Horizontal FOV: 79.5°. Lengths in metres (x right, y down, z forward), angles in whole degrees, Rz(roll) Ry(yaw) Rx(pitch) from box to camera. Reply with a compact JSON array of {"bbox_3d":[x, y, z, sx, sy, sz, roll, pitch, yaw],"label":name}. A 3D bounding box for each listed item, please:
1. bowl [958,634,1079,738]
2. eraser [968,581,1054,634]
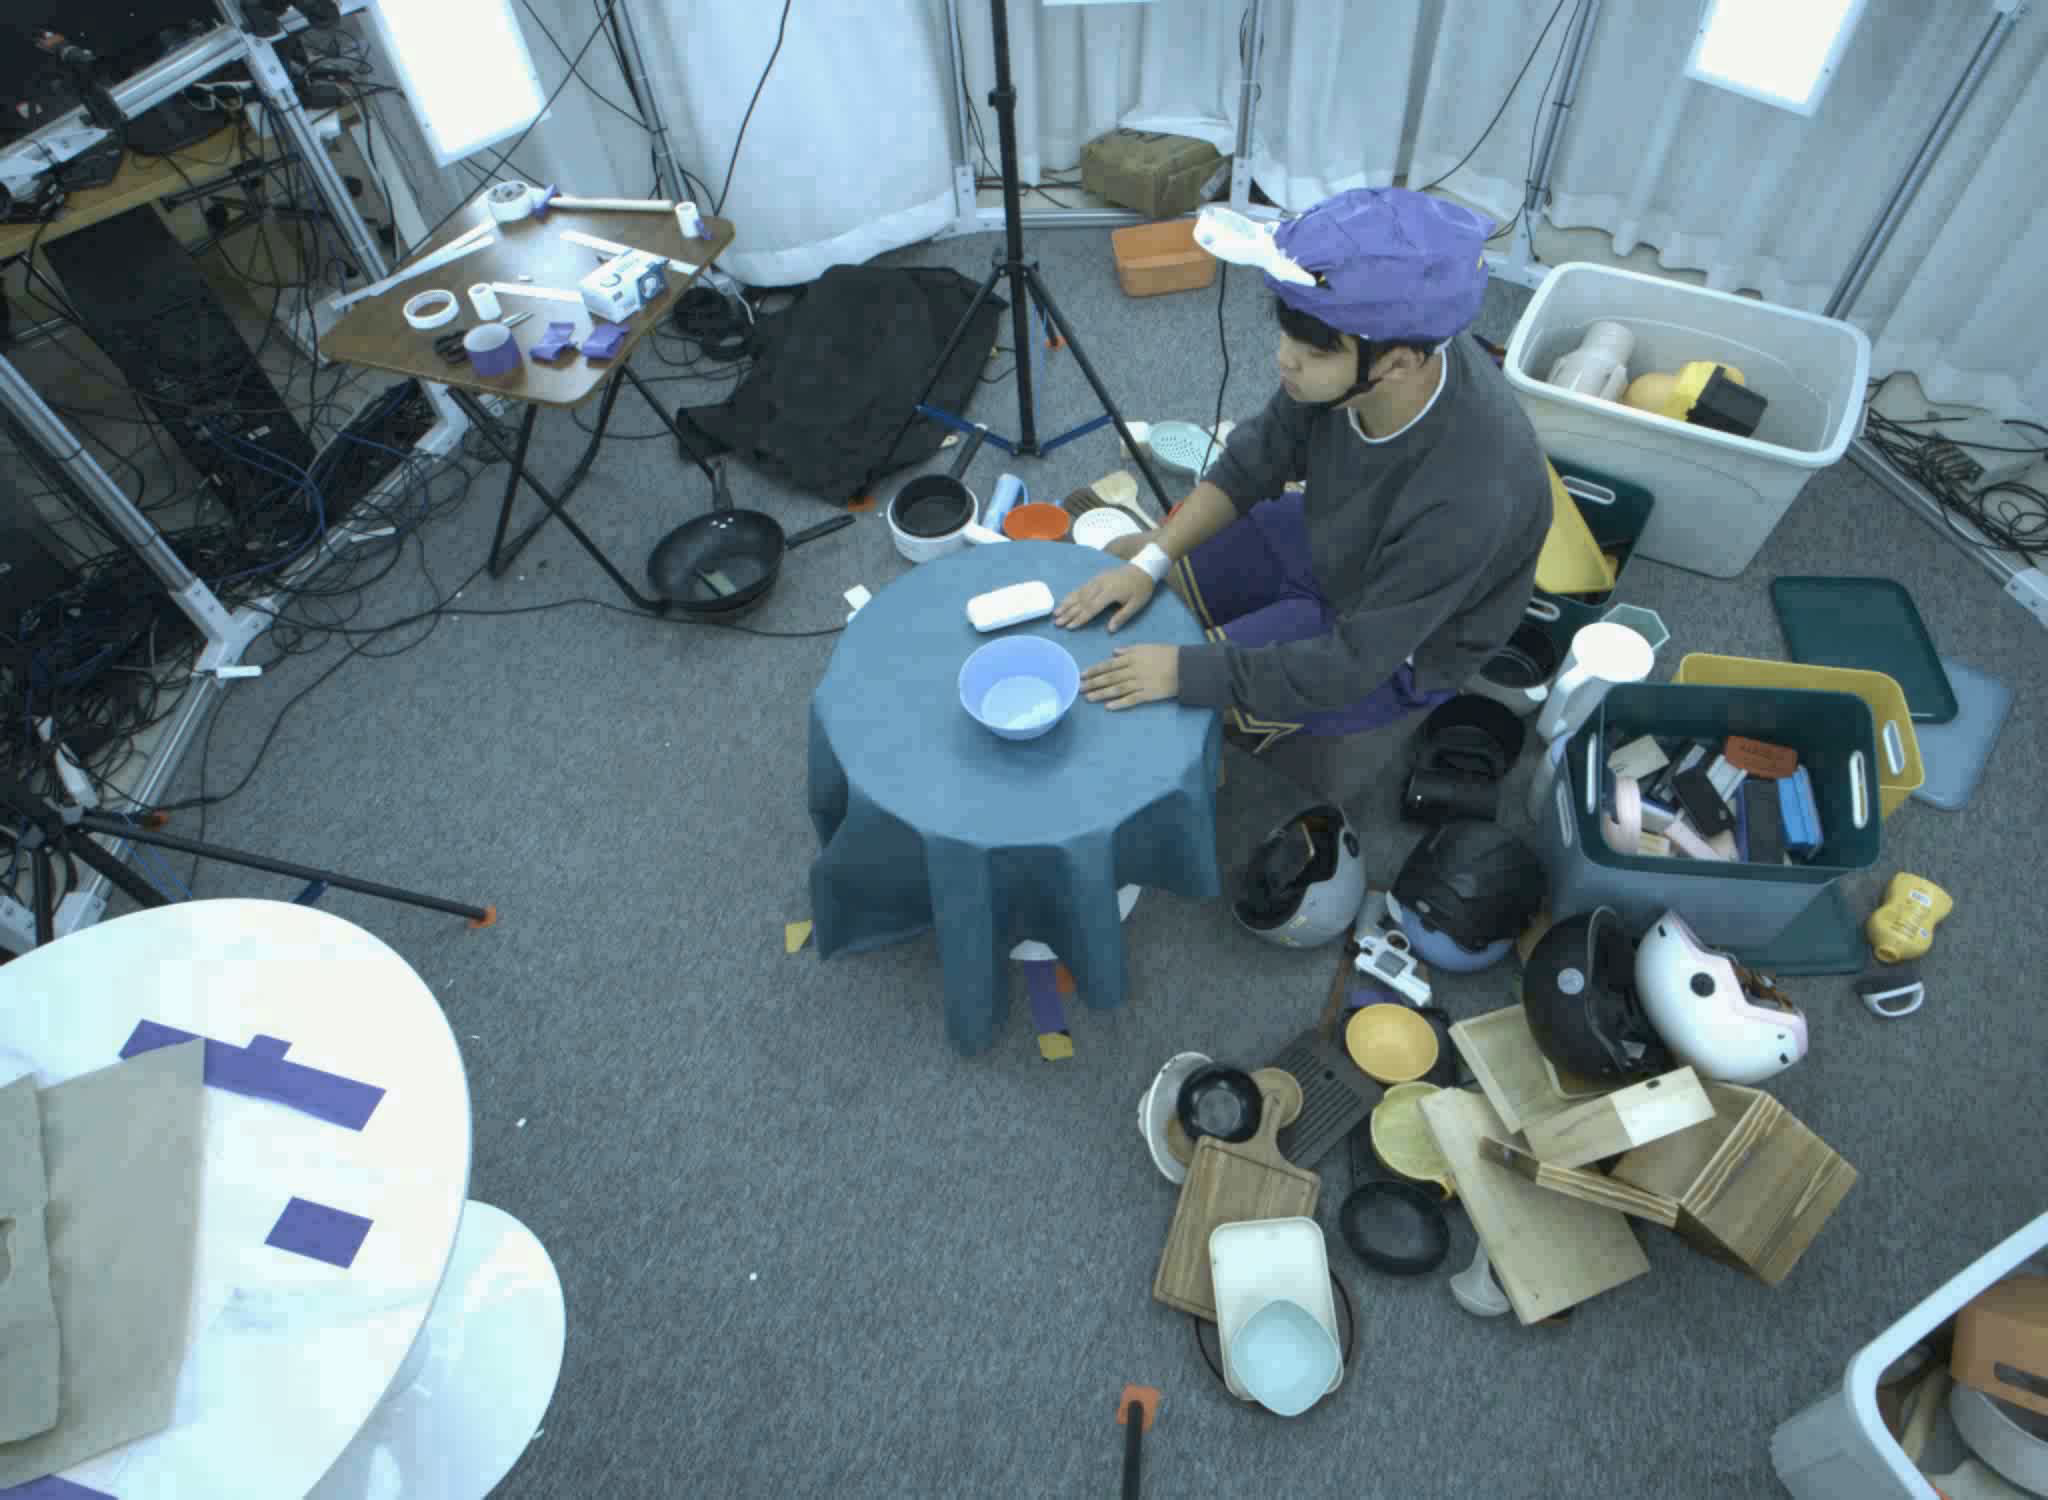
[{"bbox_3d":[-0.007,-0.083,1.805,0.176,0.071,0.174,0,55,2],"label":"bowl"},{"bbox_3d":[-0.020,-0.224,1.930,0.132,0.035,0.062,-16,57,-7],"label":"eraser"}]
